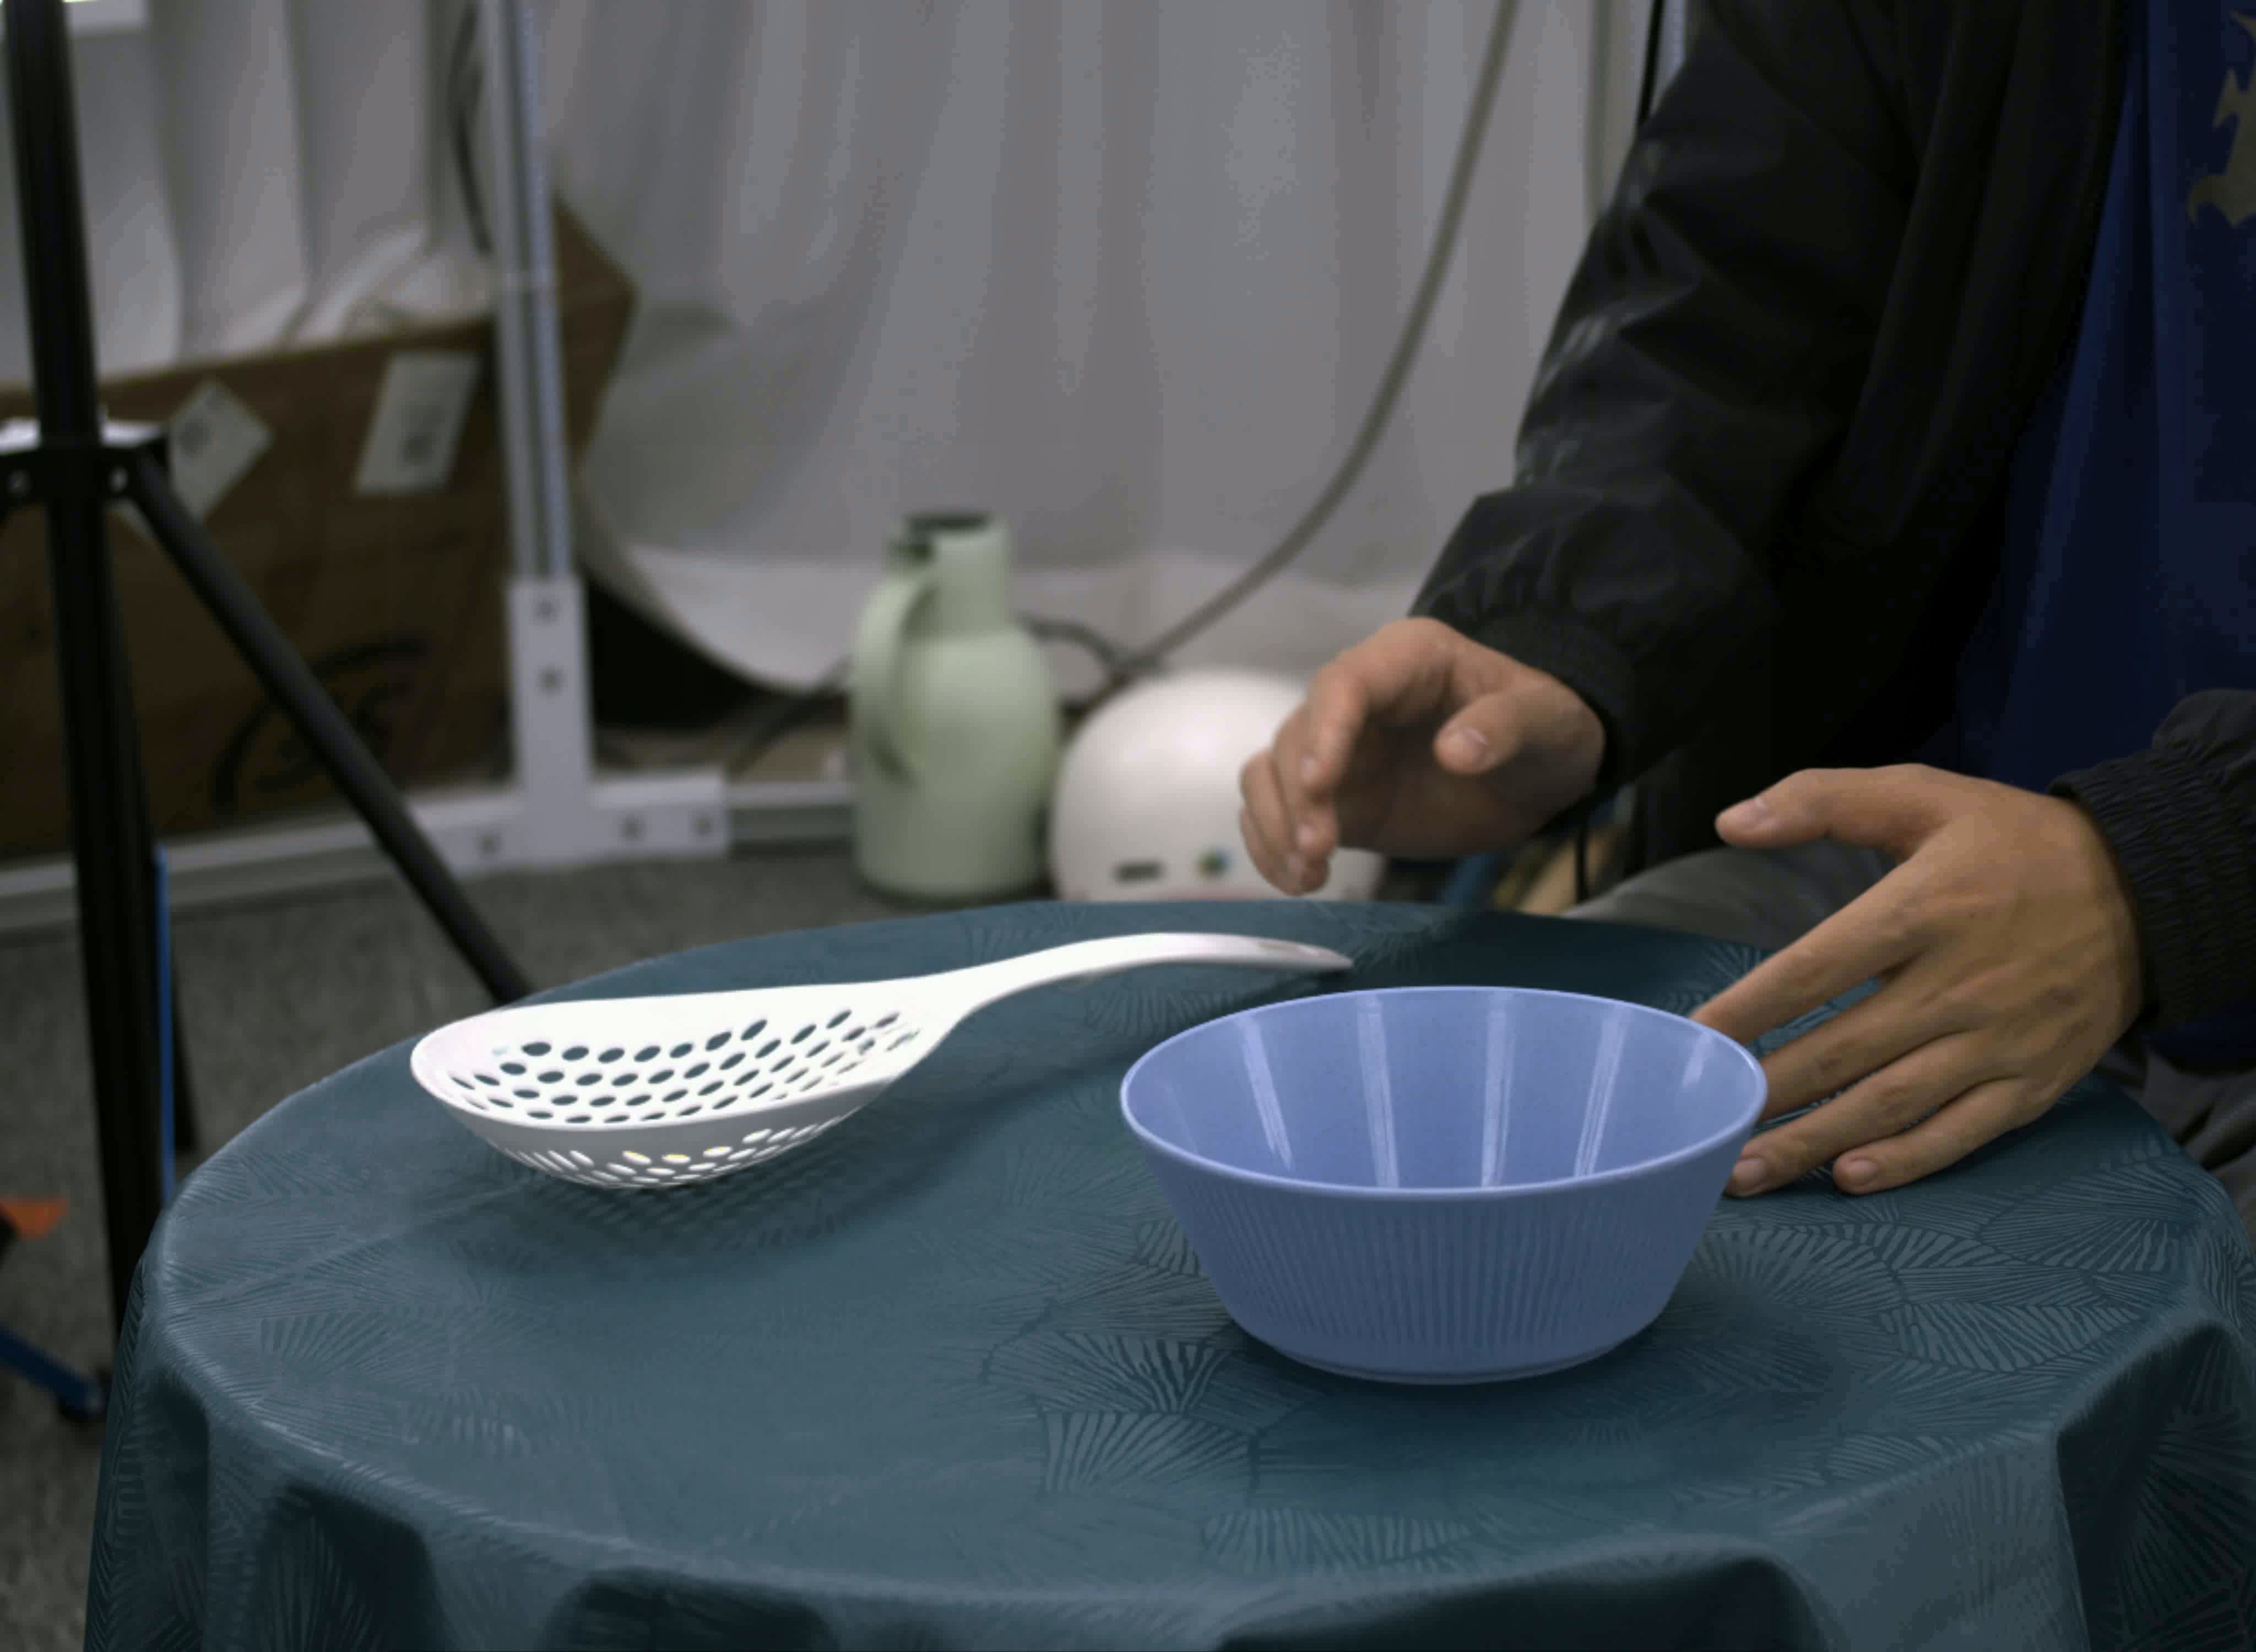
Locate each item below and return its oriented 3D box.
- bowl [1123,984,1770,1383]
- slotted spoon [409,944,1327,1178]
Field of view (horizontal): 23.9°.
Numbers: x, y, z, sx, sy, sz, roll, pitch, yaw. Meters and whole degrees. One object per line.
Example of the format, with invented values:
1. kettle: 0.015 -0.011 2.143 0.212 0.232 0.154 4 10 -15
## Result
1. bowl: 0.086 0.100 1.444 0.175 0.070 0.177 -2 16 -1
2. slotted spoon: -0.062 0.062 1.652 0.340 0.050 0.140 -15 16 -38
